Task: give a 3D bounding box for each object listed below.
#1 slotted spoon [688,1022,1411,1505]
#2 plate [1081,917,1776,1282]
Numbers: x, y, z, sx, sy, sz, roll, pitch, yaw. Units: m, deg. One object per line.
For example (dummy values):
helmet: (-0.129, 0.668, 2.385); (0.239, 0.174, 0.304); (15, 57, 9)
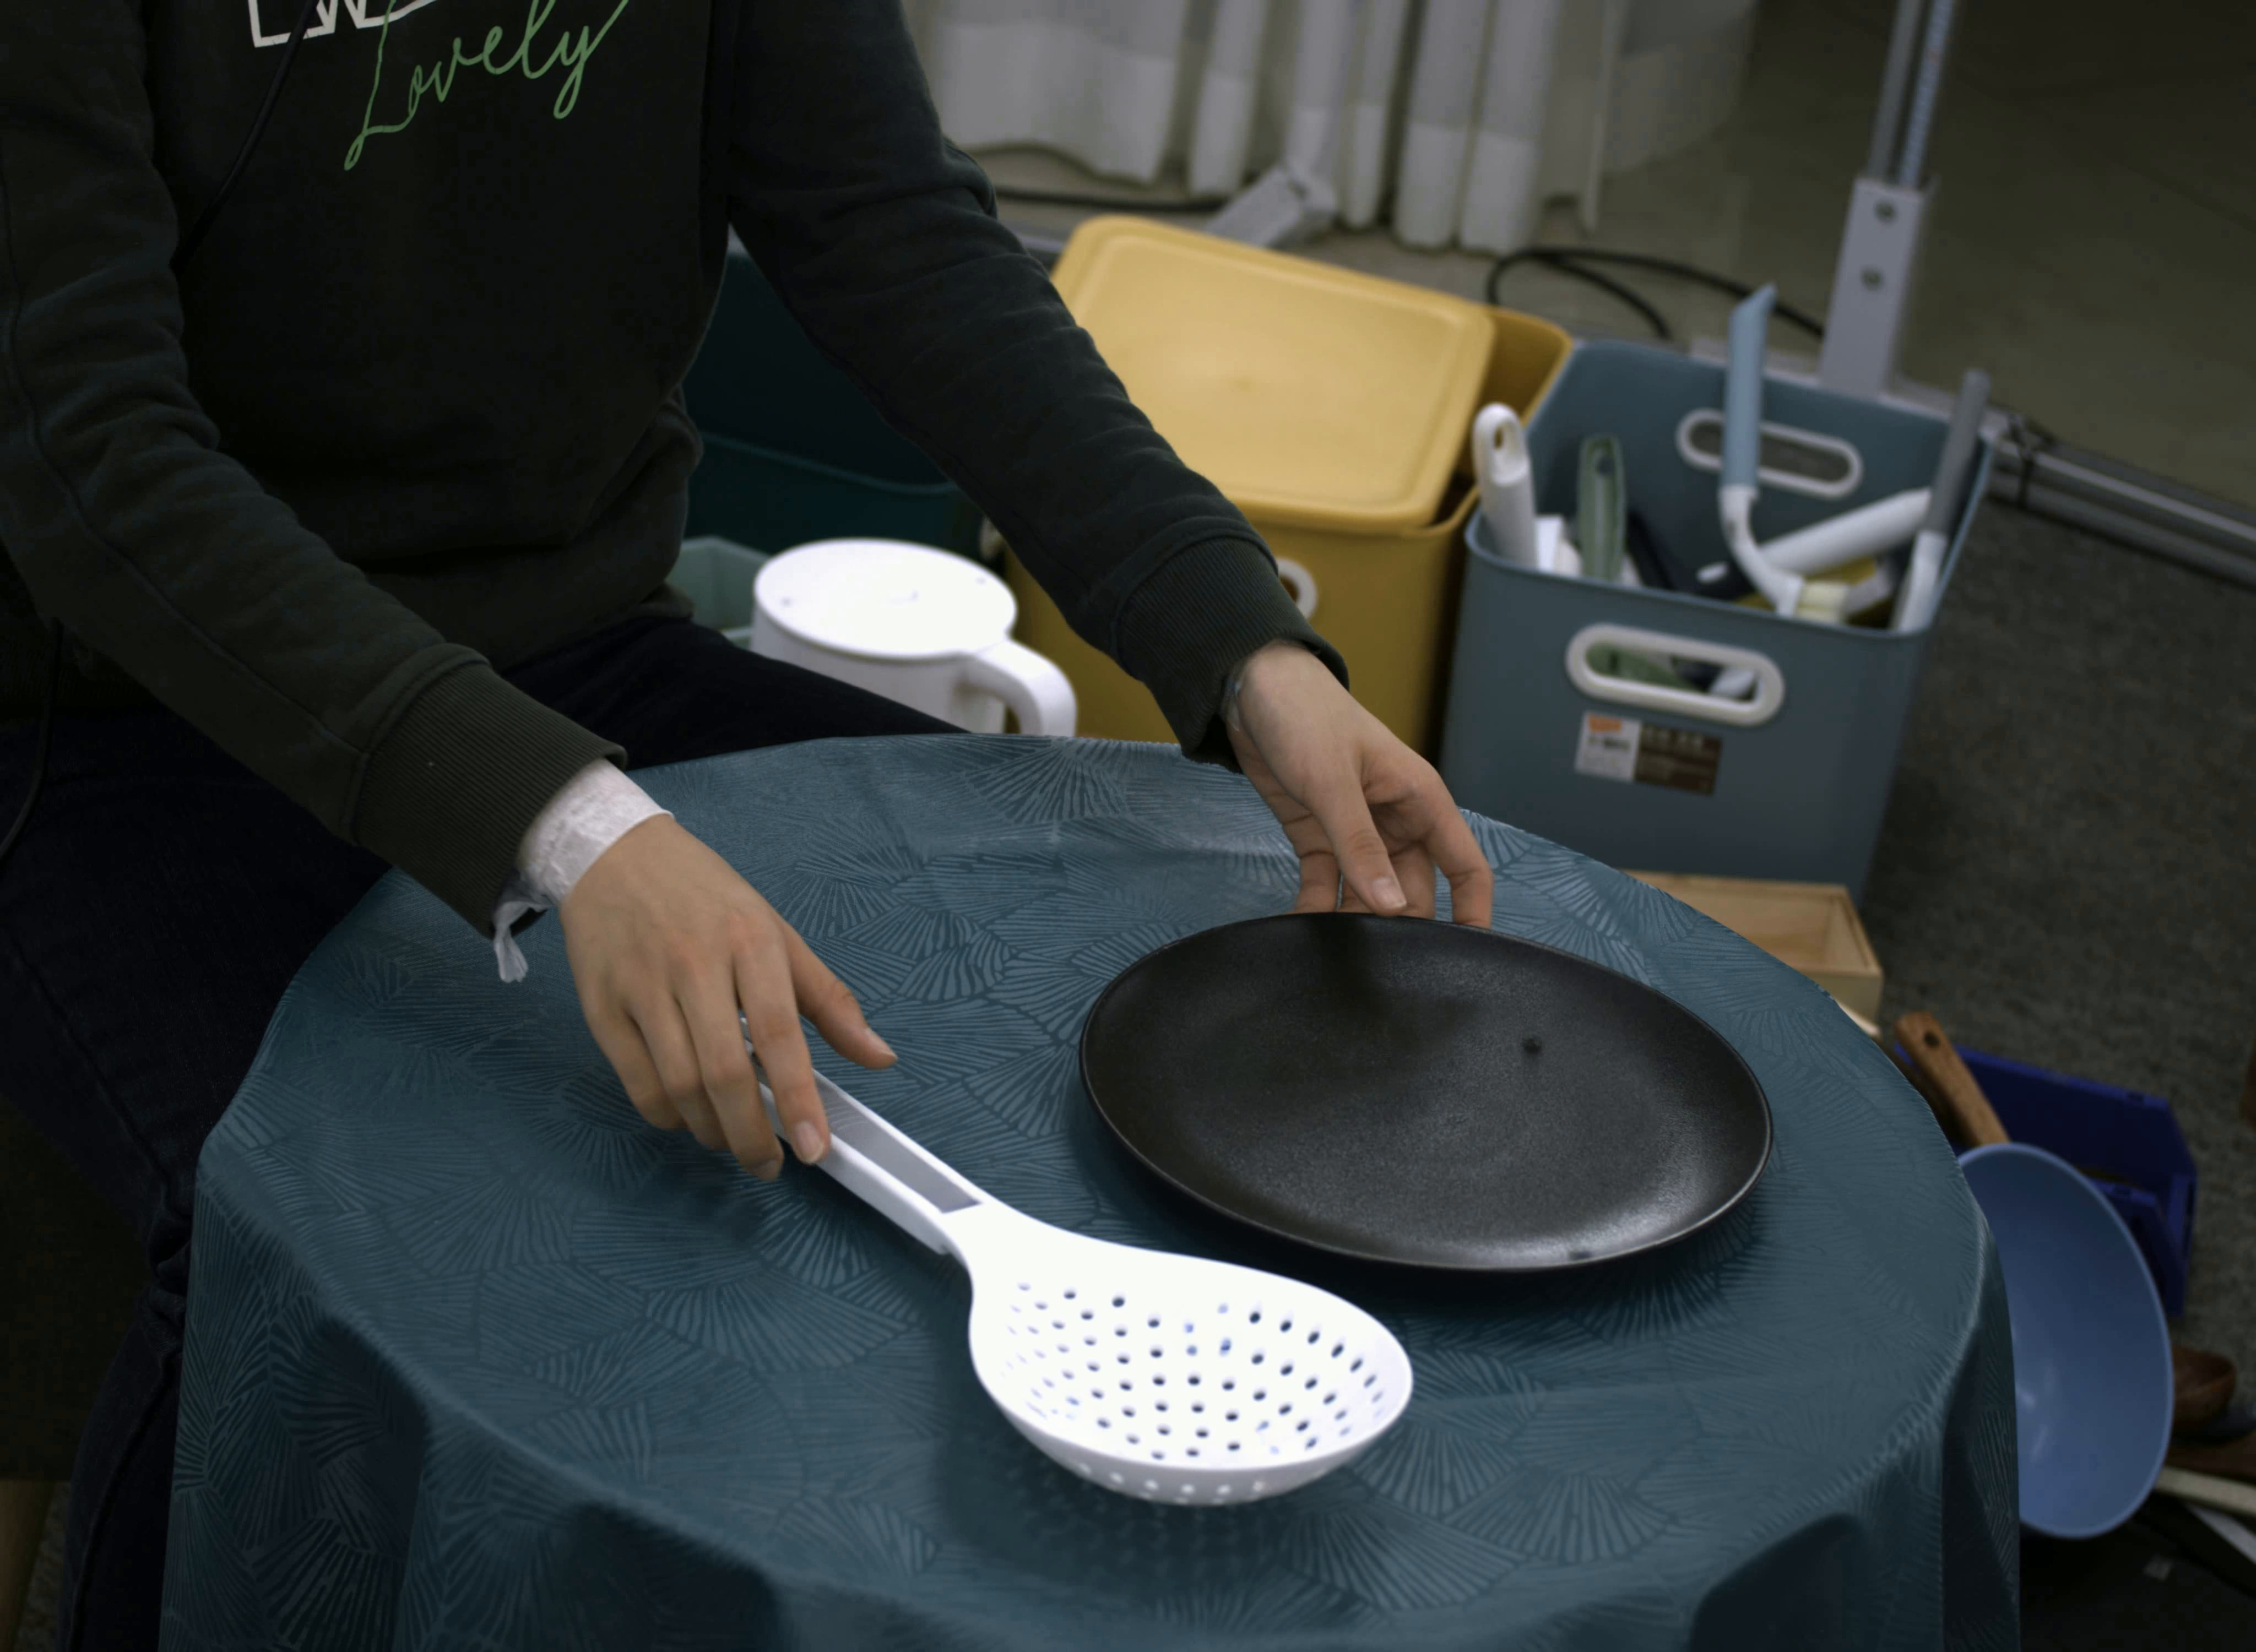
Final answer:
slotted spoon: (-0.044, 0.135, 1.718); (0.135, 0.045, 0.353); (-10, 30, -34)
plate: (0.103, 0.098, 1.848); (0.243, 0.023, 0.246); (5, 27, -3)
